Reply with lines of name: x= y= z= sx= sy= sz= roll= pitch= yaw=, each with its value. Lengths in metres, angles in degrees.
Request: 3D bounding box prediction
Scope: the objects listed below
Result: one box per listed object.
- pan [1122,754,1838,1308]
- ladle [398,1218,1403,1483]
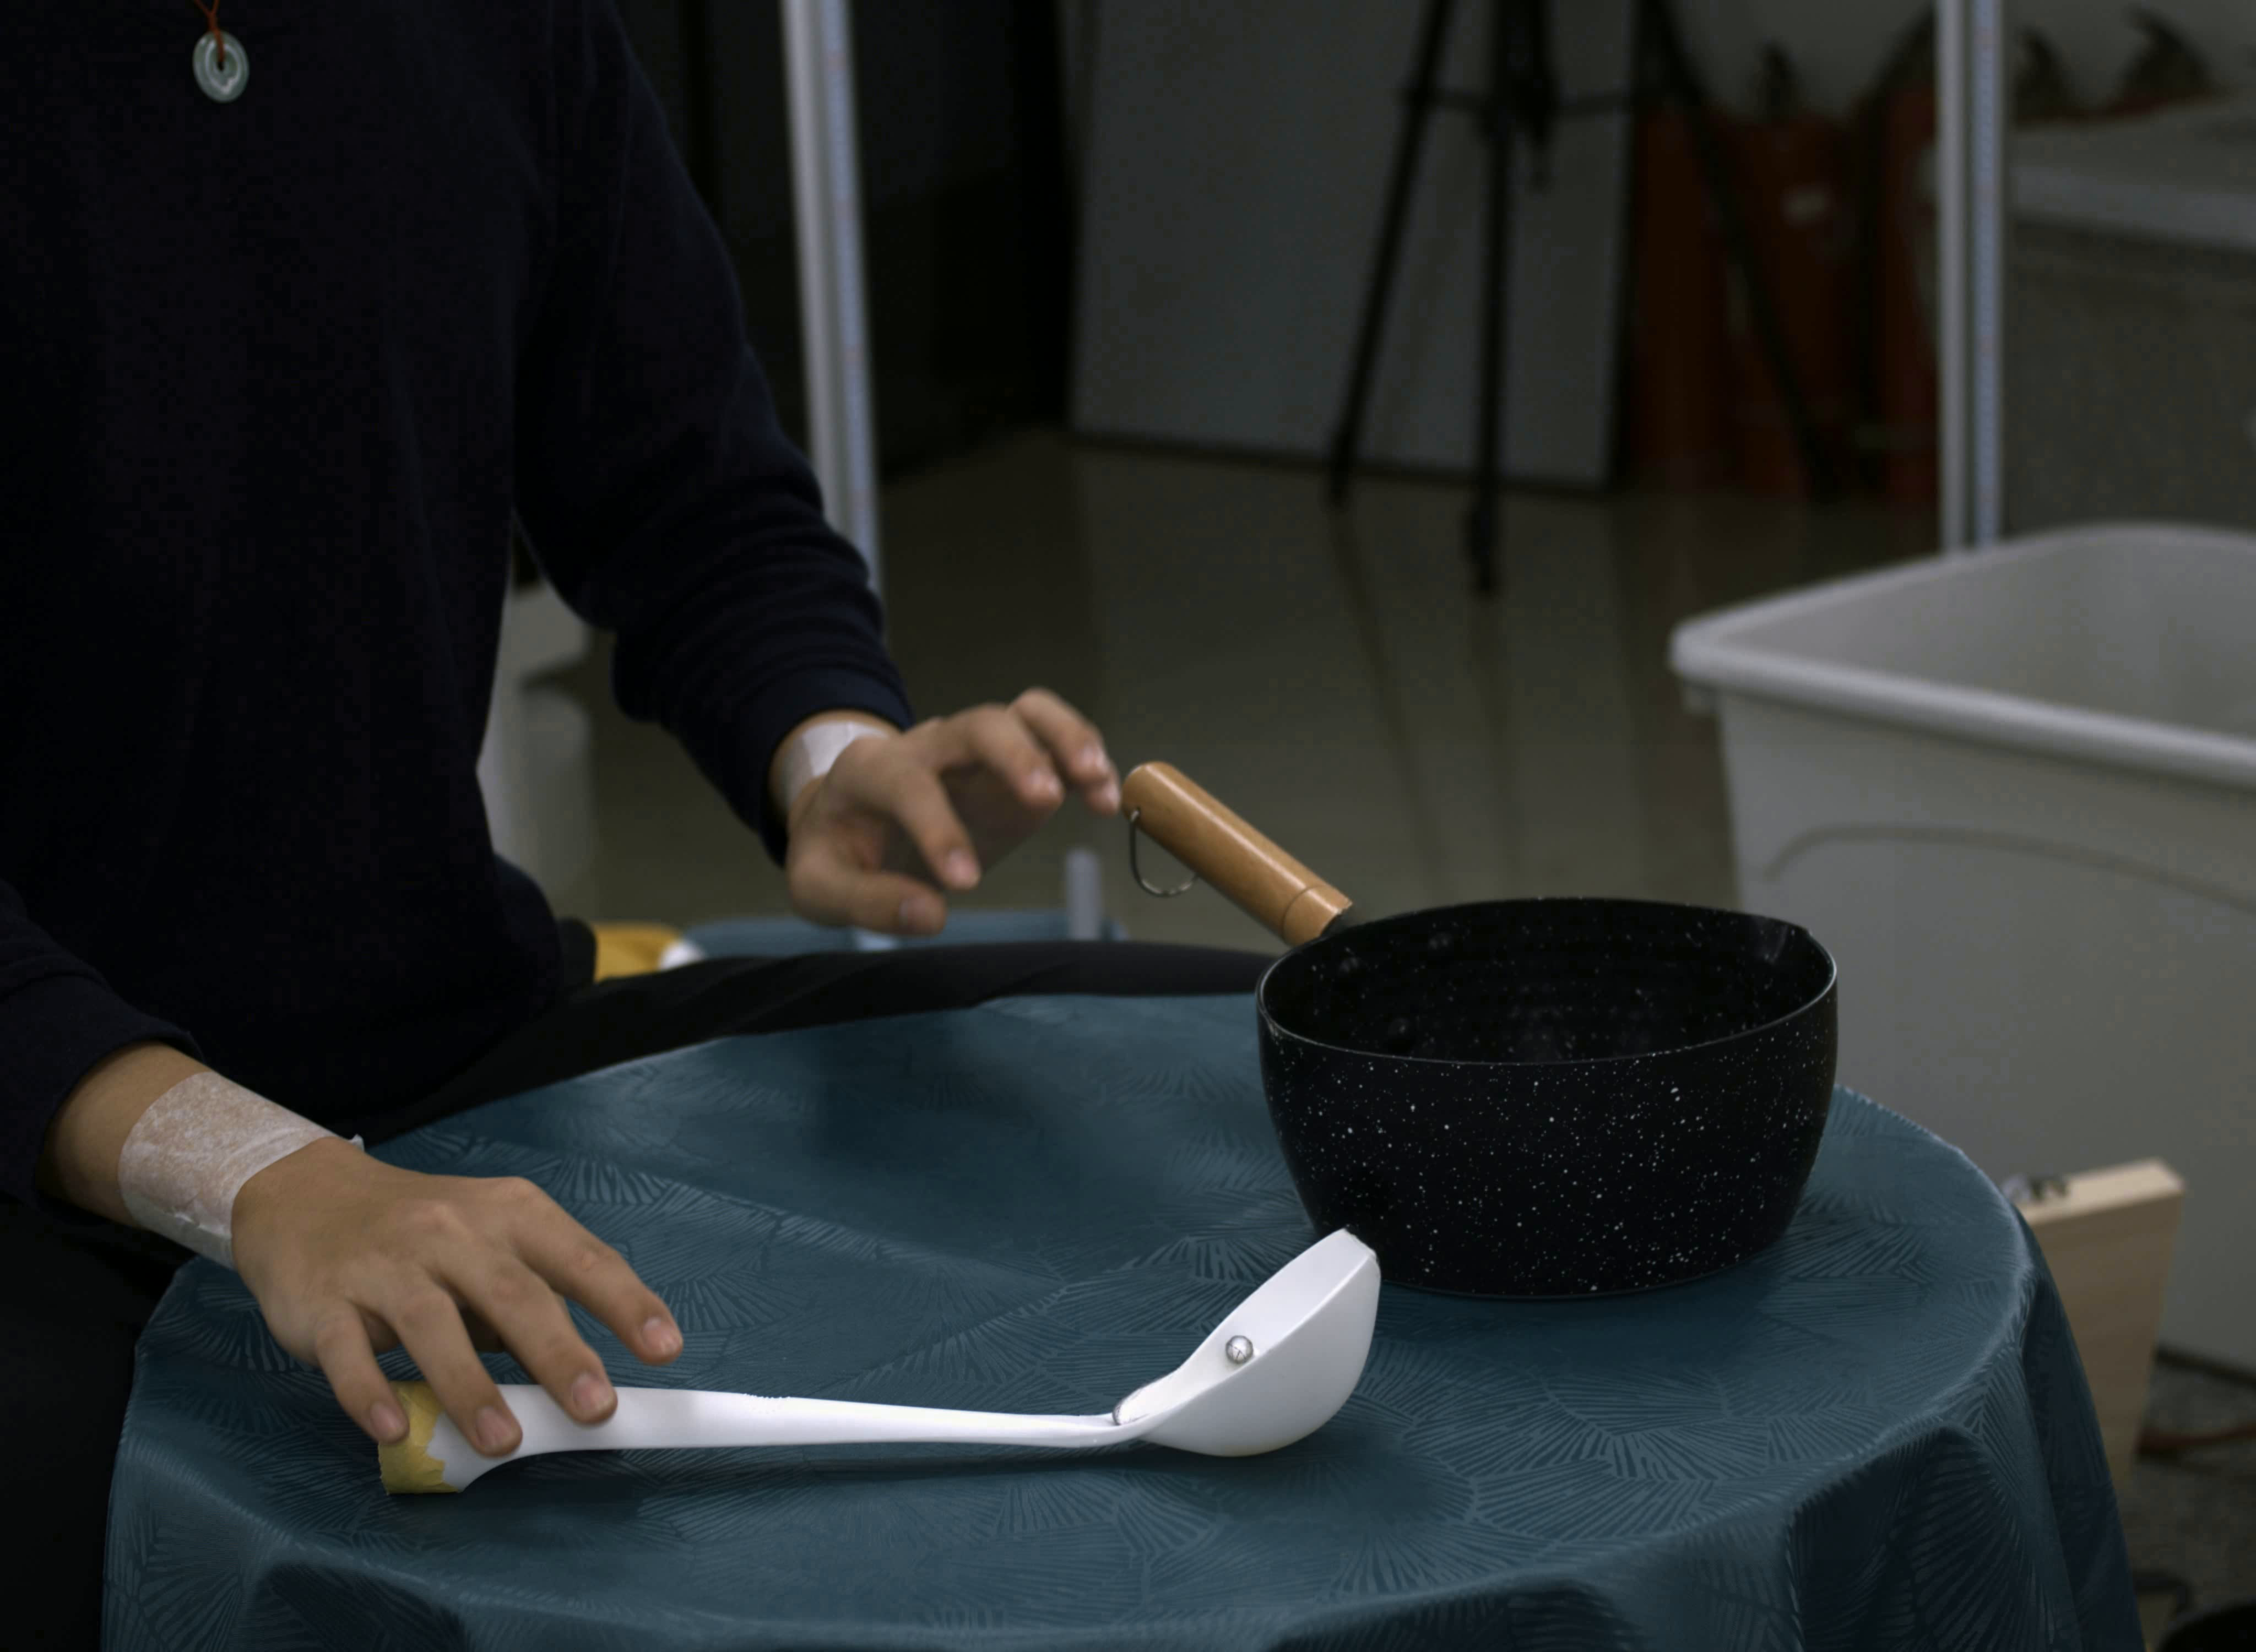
pan: x=0.091 y=0.061 z=1.761 sx=0.203 sy=0.109 sz=0.346 roll=-13 pitch=18 yaw=-29
ladle: x=-0.065 y=0.152 z=1.536 sx=0.290 sy=0.071 sz=0.090 roll=-1 pitch=11 yaw=7
